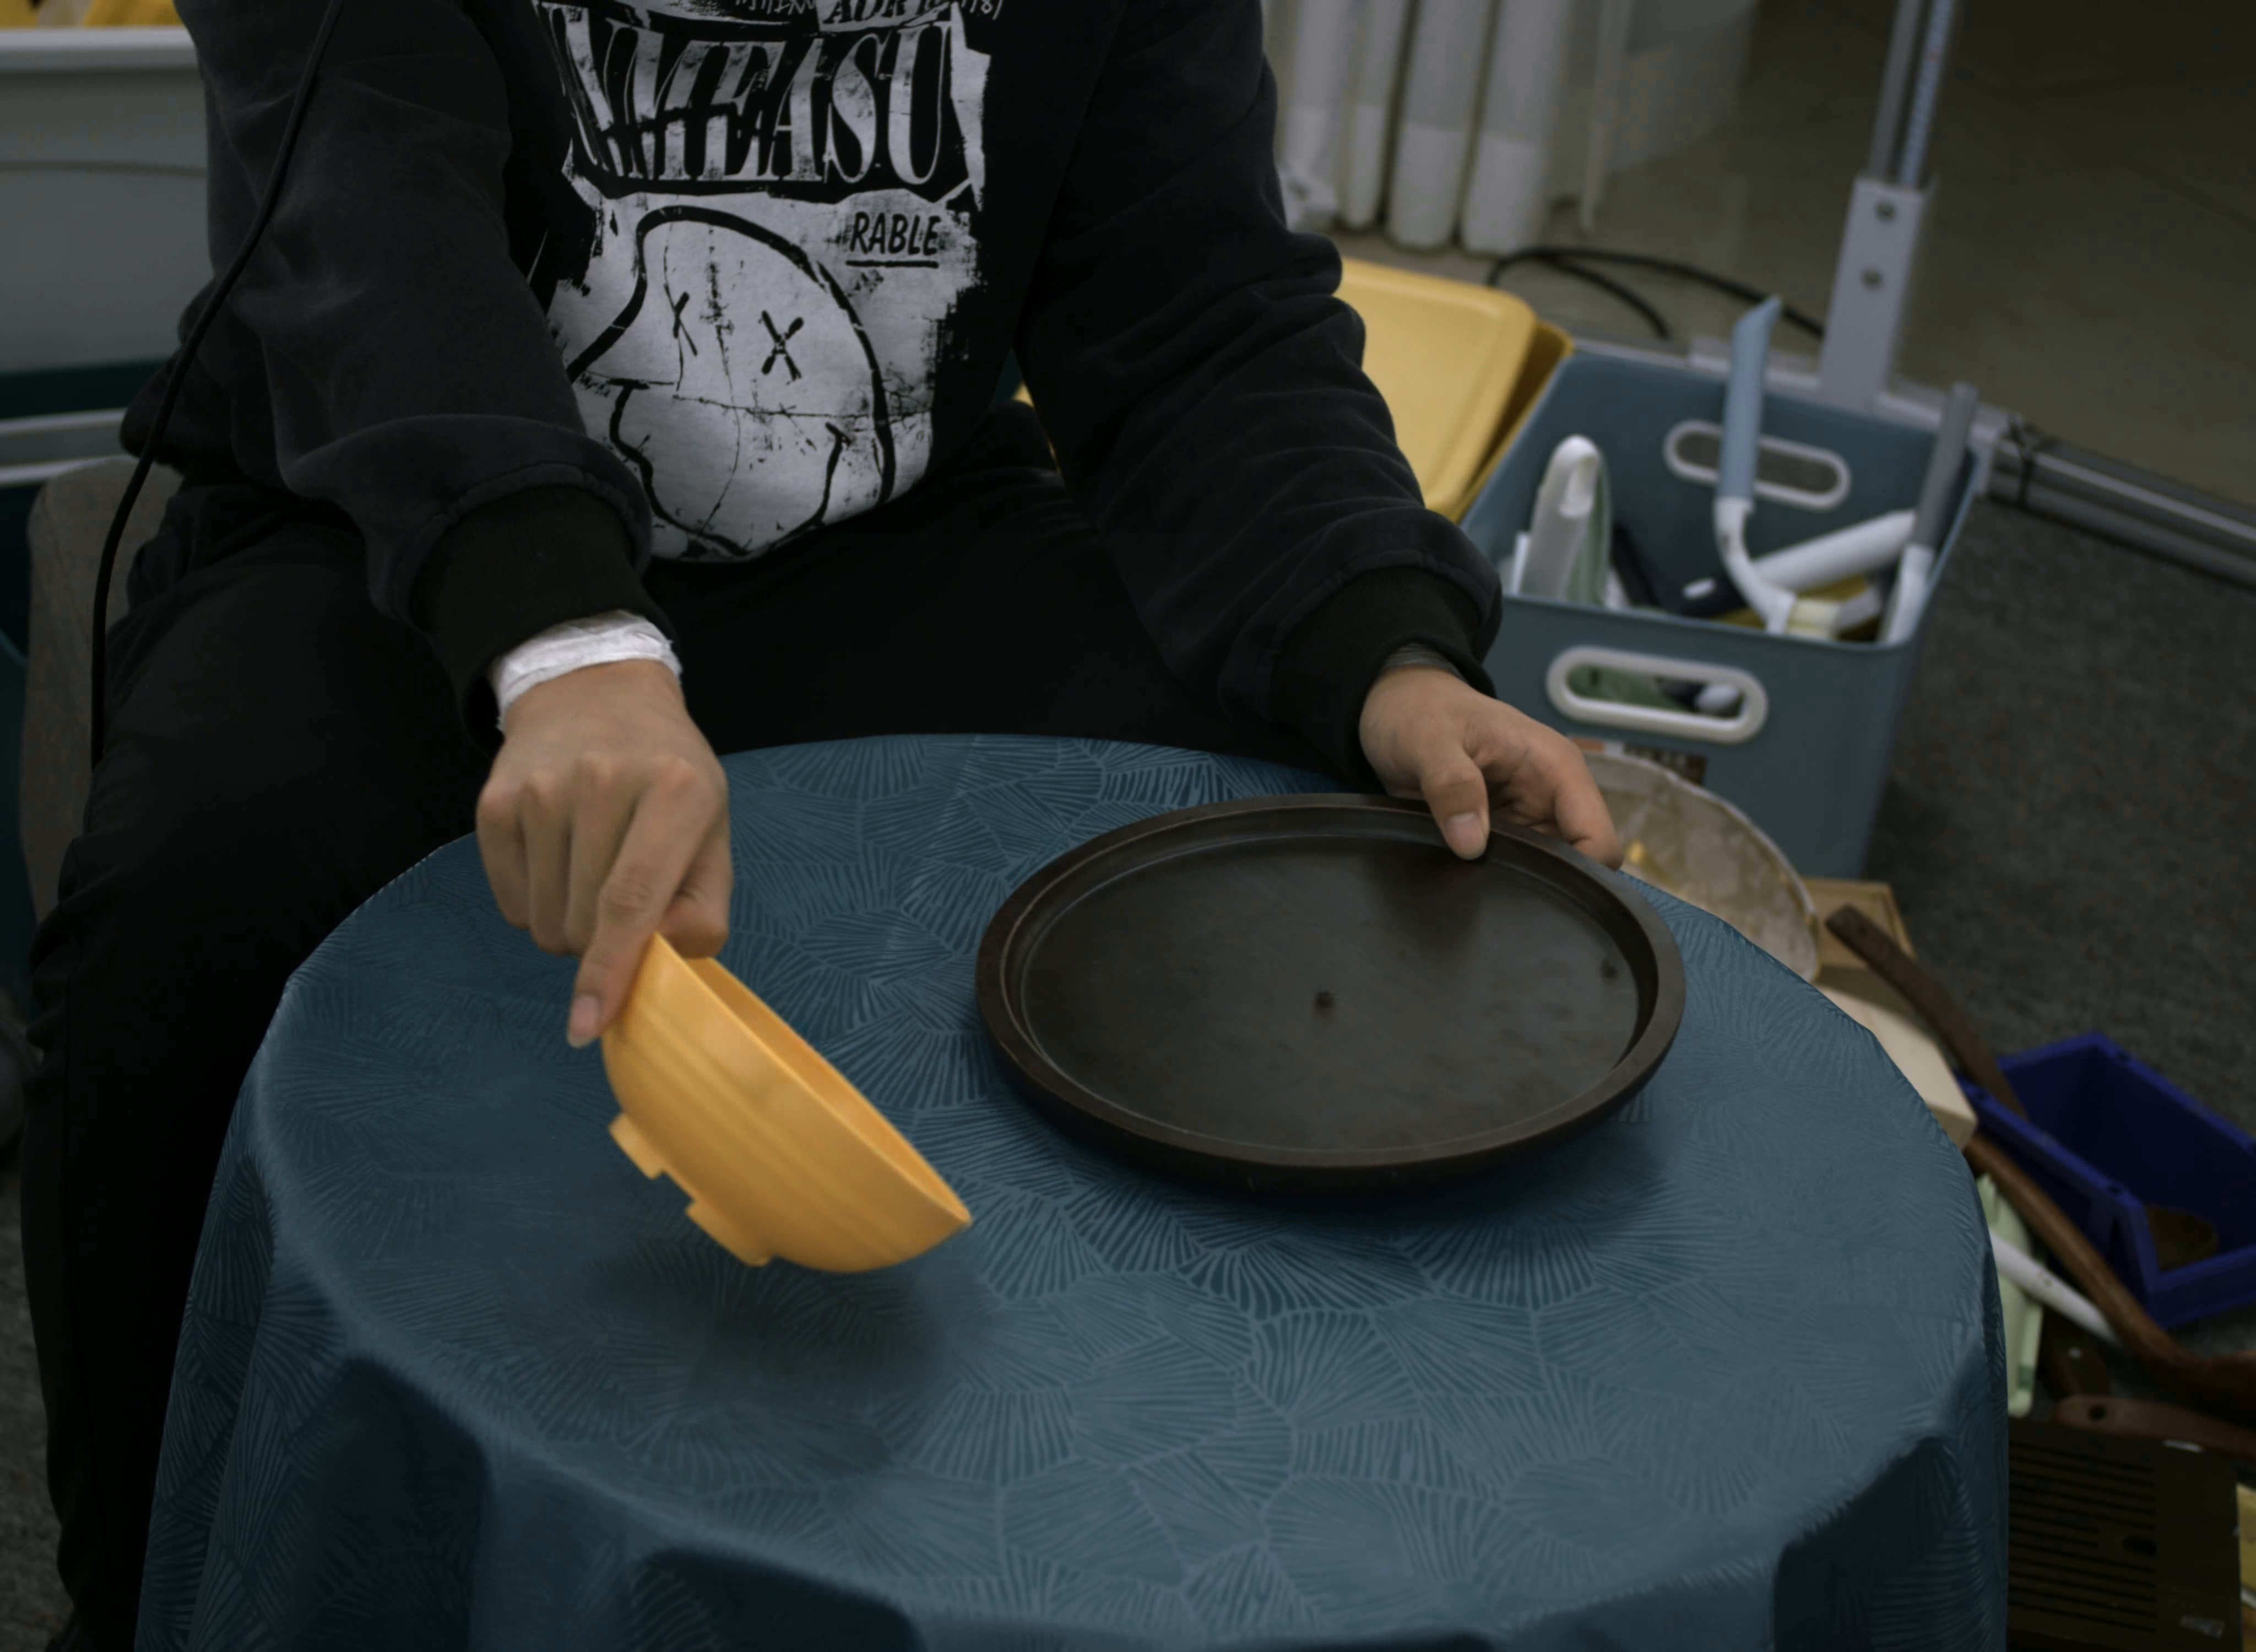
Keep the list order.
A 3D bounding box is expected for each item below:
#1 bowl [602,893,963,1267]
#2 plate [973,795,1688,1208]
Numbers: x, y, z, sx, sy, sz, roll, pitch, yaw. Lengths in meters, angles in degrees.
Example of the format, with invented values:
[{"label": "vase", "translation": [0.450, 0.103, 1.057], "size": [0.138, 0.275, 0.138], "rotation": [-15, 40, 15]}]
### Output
[{"label": "bowl", "translation": [-0.122, 0.093, 1.686], "size": [0.060, 0.144, 0.146], "rotation": [-44, 38, 0]}, {"label": "plate", "translation": [0.072, 0.060, 1.888], "size": [0.254, 0.029, 0.256], "rotation": [-2, 30, 1]}]
